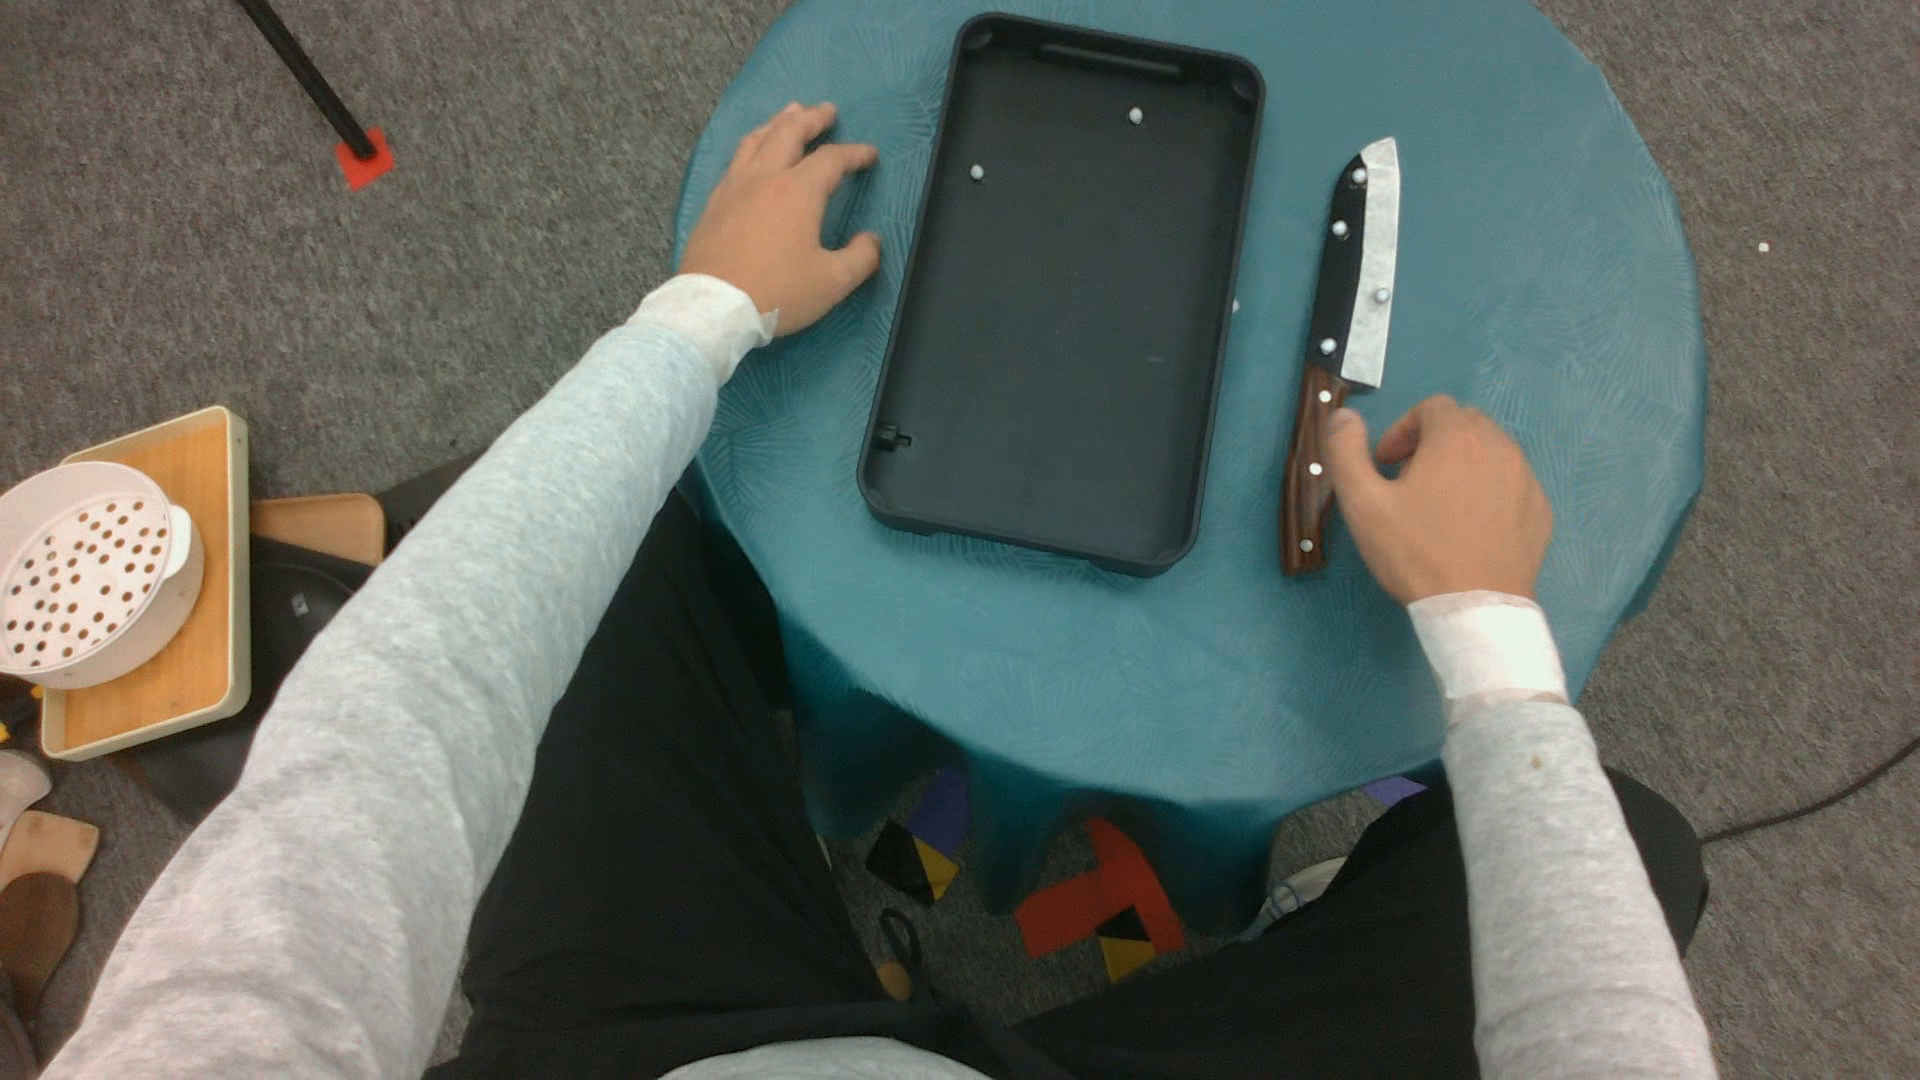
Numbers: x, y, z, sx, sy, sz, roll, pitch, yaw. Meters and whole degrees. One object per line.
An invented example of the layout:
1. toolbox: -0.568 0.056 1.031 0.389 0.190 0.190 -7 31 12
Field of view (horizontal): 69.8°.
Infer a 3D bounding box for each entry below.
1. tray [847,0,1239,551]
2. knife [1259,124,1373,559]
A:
1. tray: 0.051 -0.157 0.778 0.184 0.037 0.319 9 73 0
2. knife: 0.206 -0.121 0.785 0.050 0.020 0.290 16 70 -3
